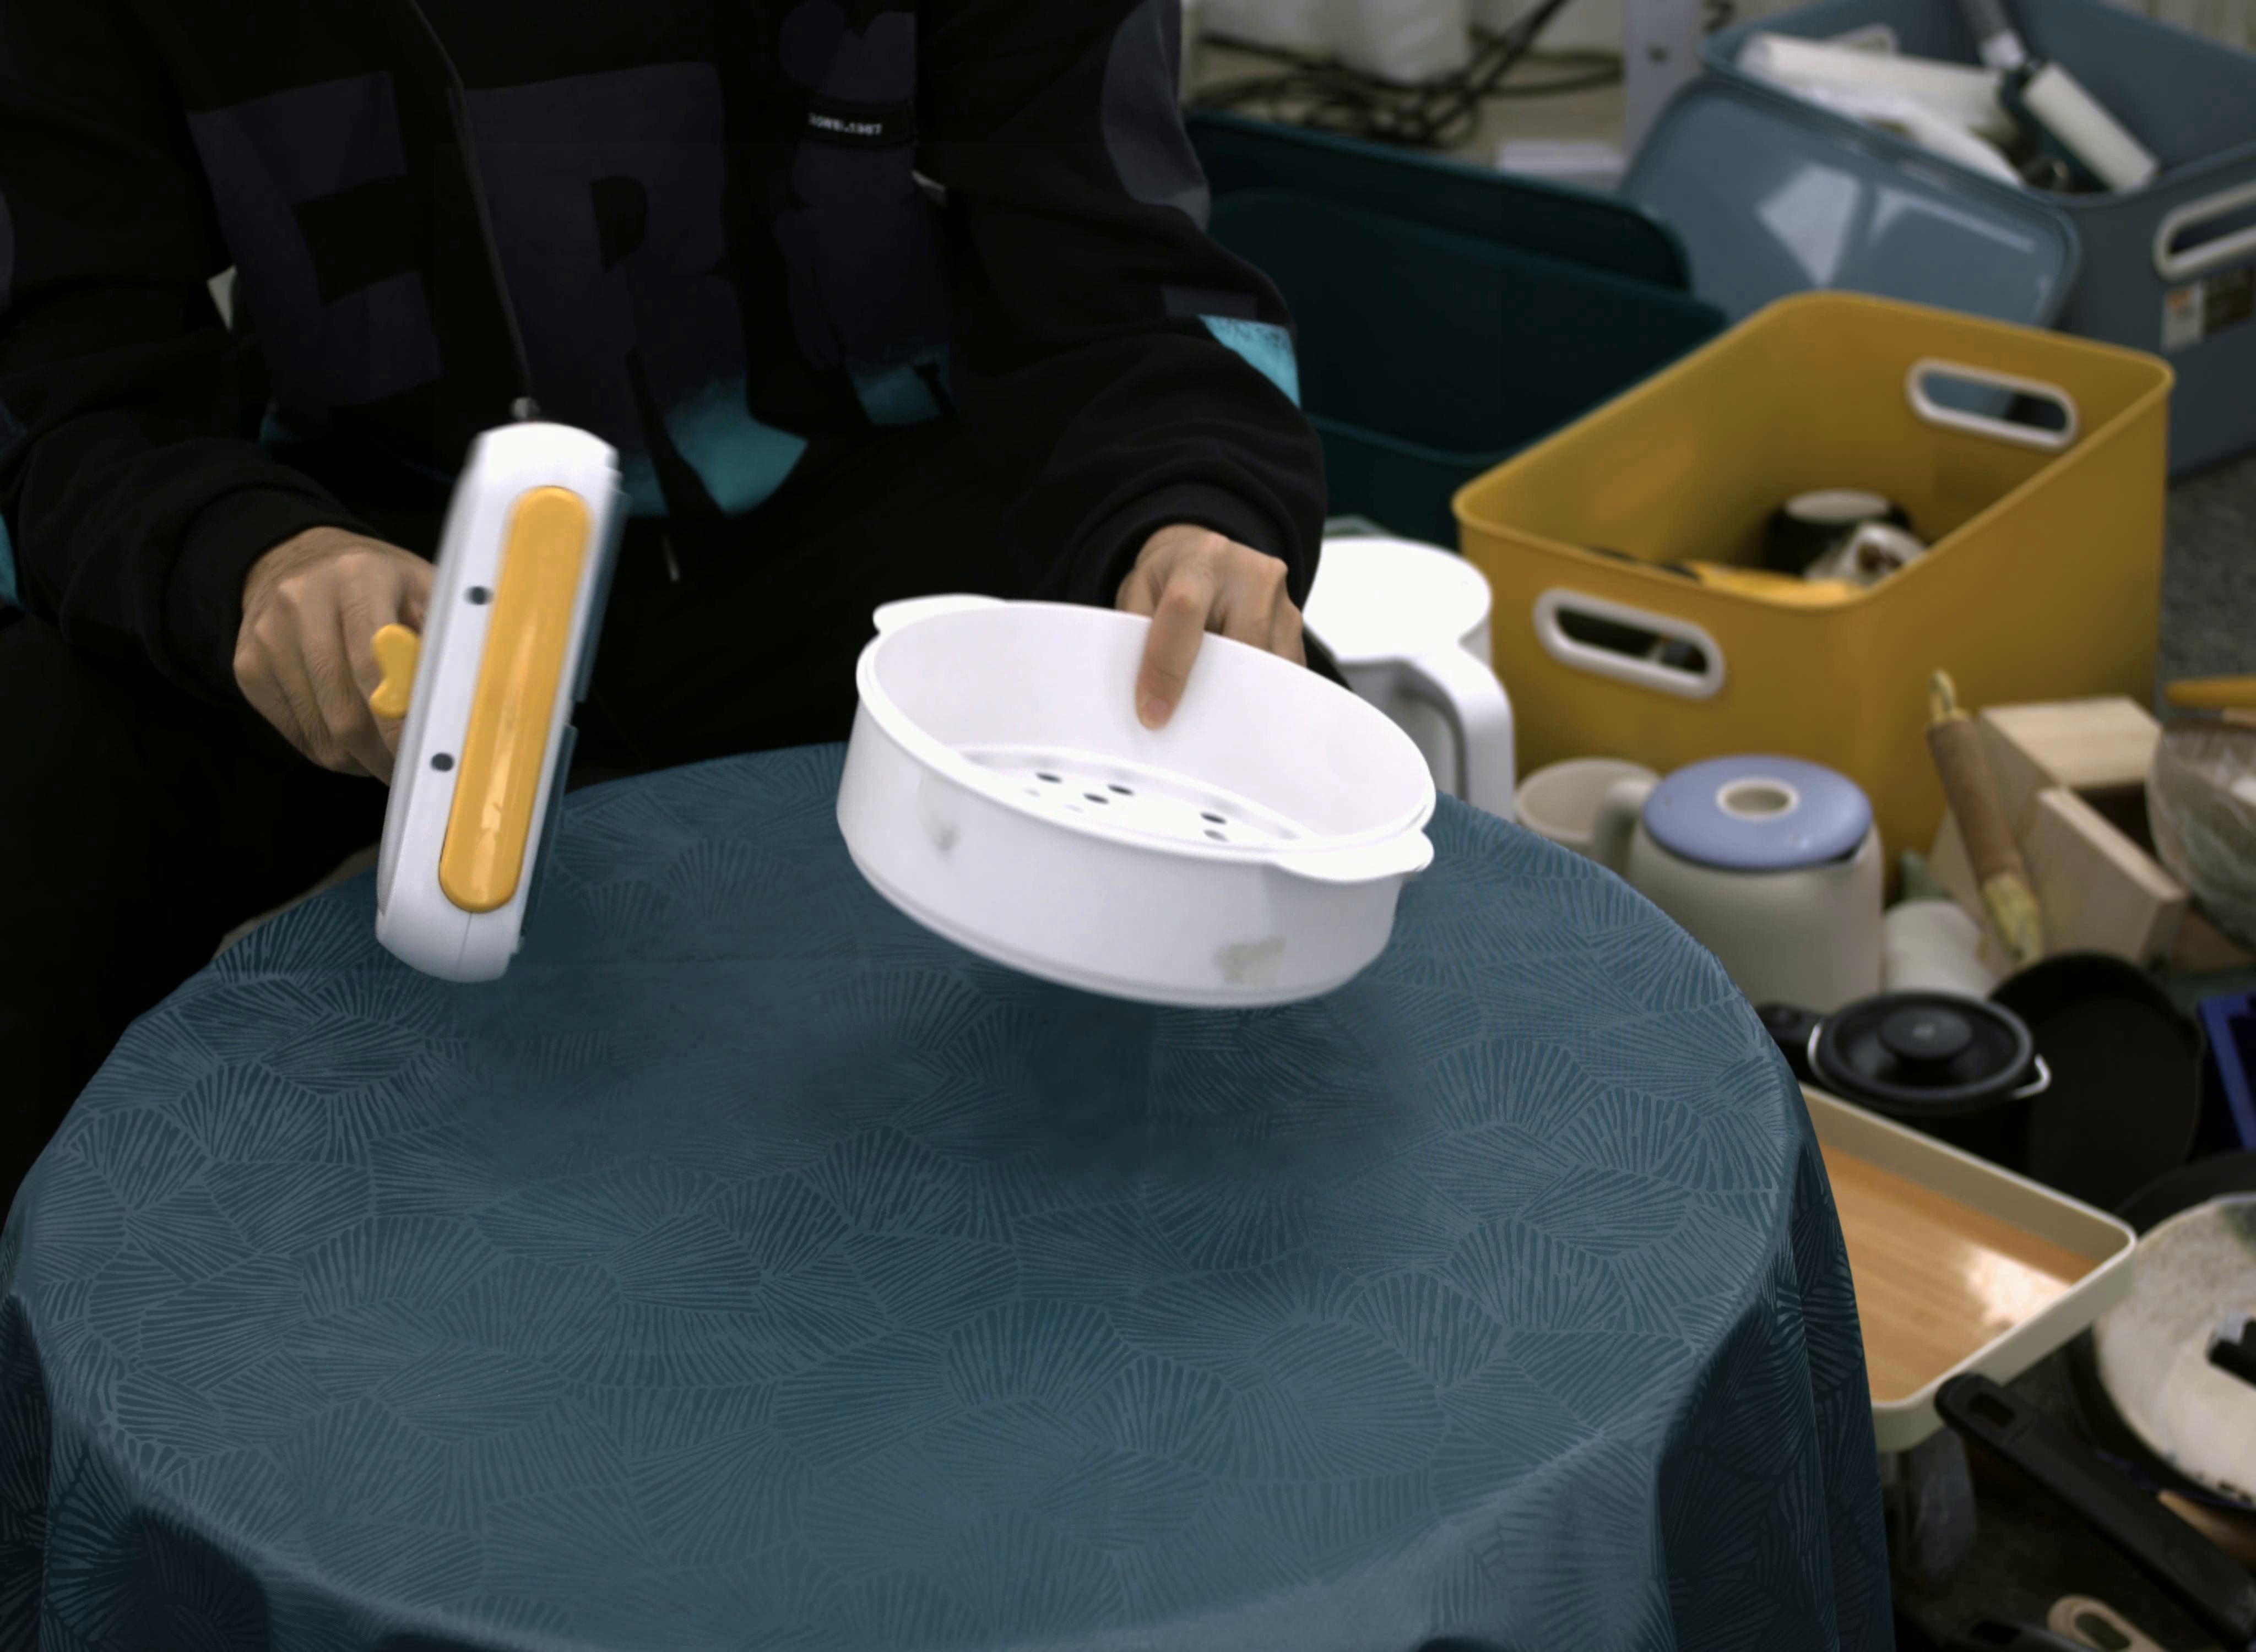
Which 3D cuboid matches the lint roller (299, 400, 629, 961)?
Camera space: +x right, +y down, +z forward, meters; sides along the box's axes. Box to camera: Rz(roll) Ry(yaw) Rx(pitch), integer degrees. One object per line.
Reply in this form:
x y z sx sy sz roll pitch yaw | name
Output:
-0.239 -0.047 1.961 0.074 0.195 0.191 11 -8 -20 | lint roller

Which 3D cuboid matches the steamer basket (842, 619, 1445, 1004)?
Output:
0.002 -0.004 1.893 0.230 0.069 0.203 27 22 37 | steamer basket
